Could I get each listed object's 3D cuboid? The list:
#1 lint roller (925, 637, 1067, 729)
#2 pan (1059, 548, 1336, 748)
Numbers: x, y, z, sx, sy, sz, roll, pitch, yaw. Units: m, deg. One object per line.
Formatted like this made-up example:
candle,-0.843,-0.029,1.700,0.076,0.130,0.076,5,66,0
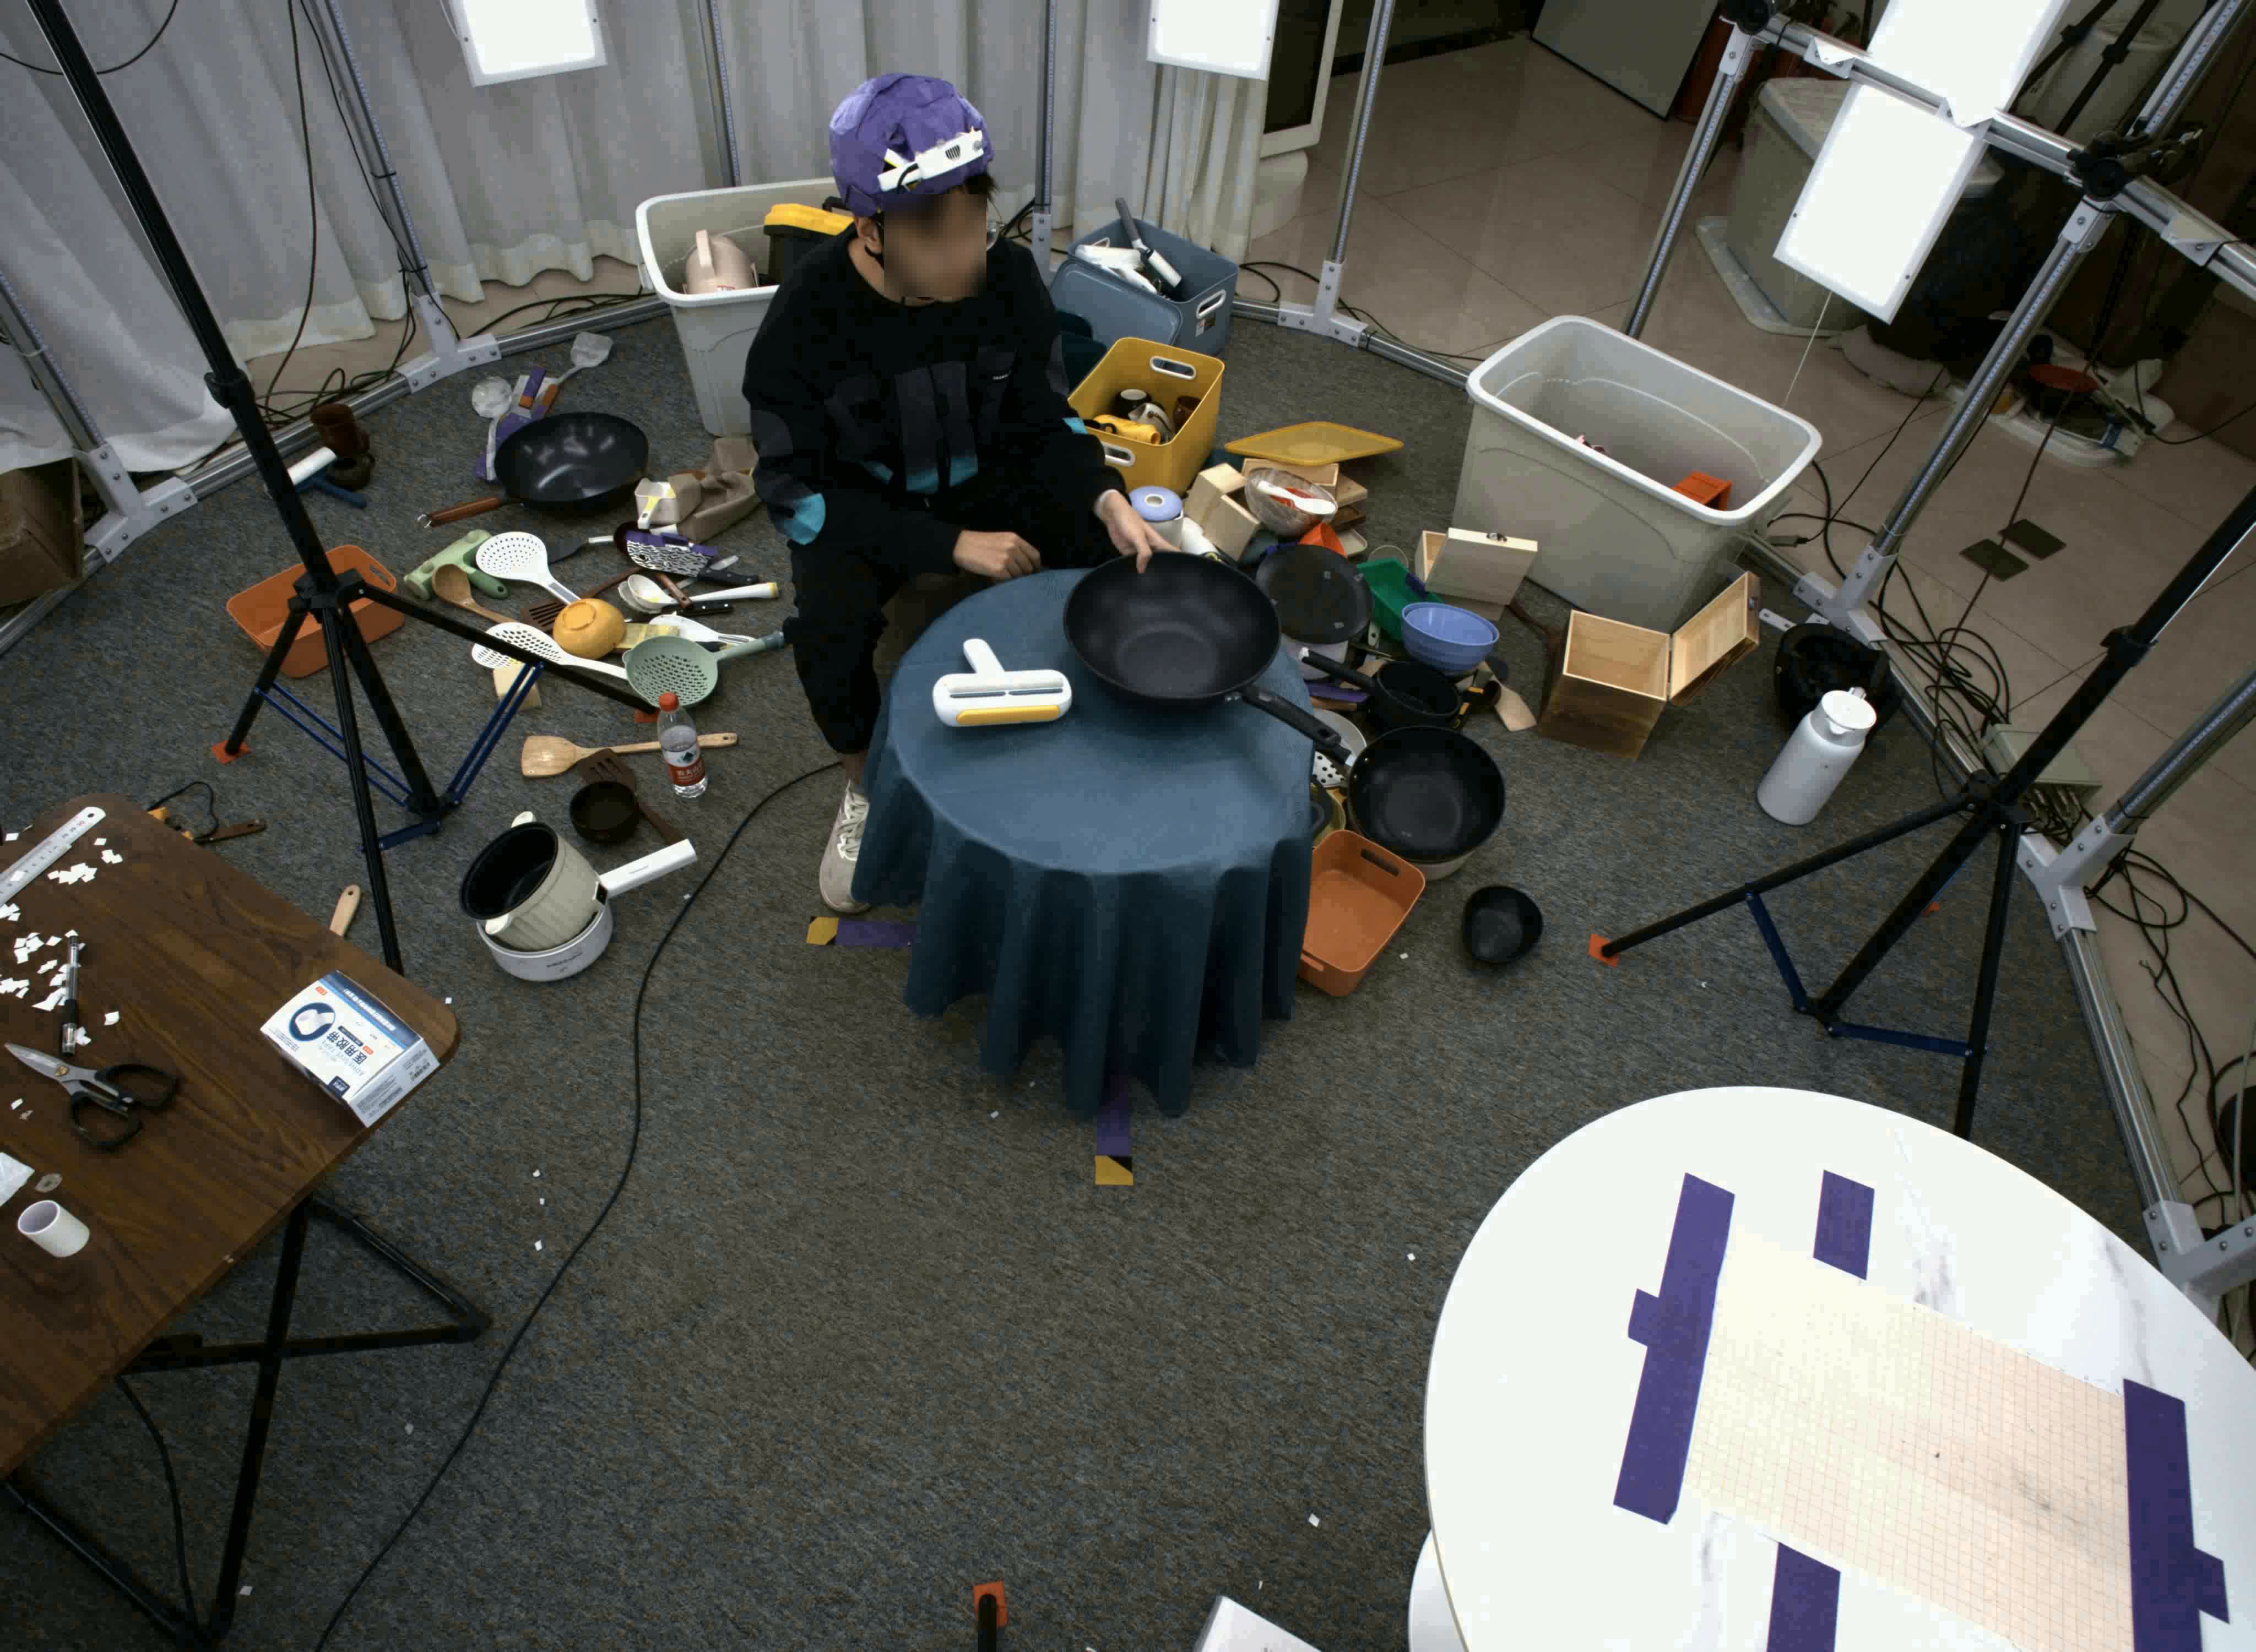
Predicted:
lint roller,-0.193,-0.212,1.796,0.192,0.072,0.197,-6,48,-15
pan,0.109,-0.223,1.799,0.312,0.109,0.485,-31,58,-25
